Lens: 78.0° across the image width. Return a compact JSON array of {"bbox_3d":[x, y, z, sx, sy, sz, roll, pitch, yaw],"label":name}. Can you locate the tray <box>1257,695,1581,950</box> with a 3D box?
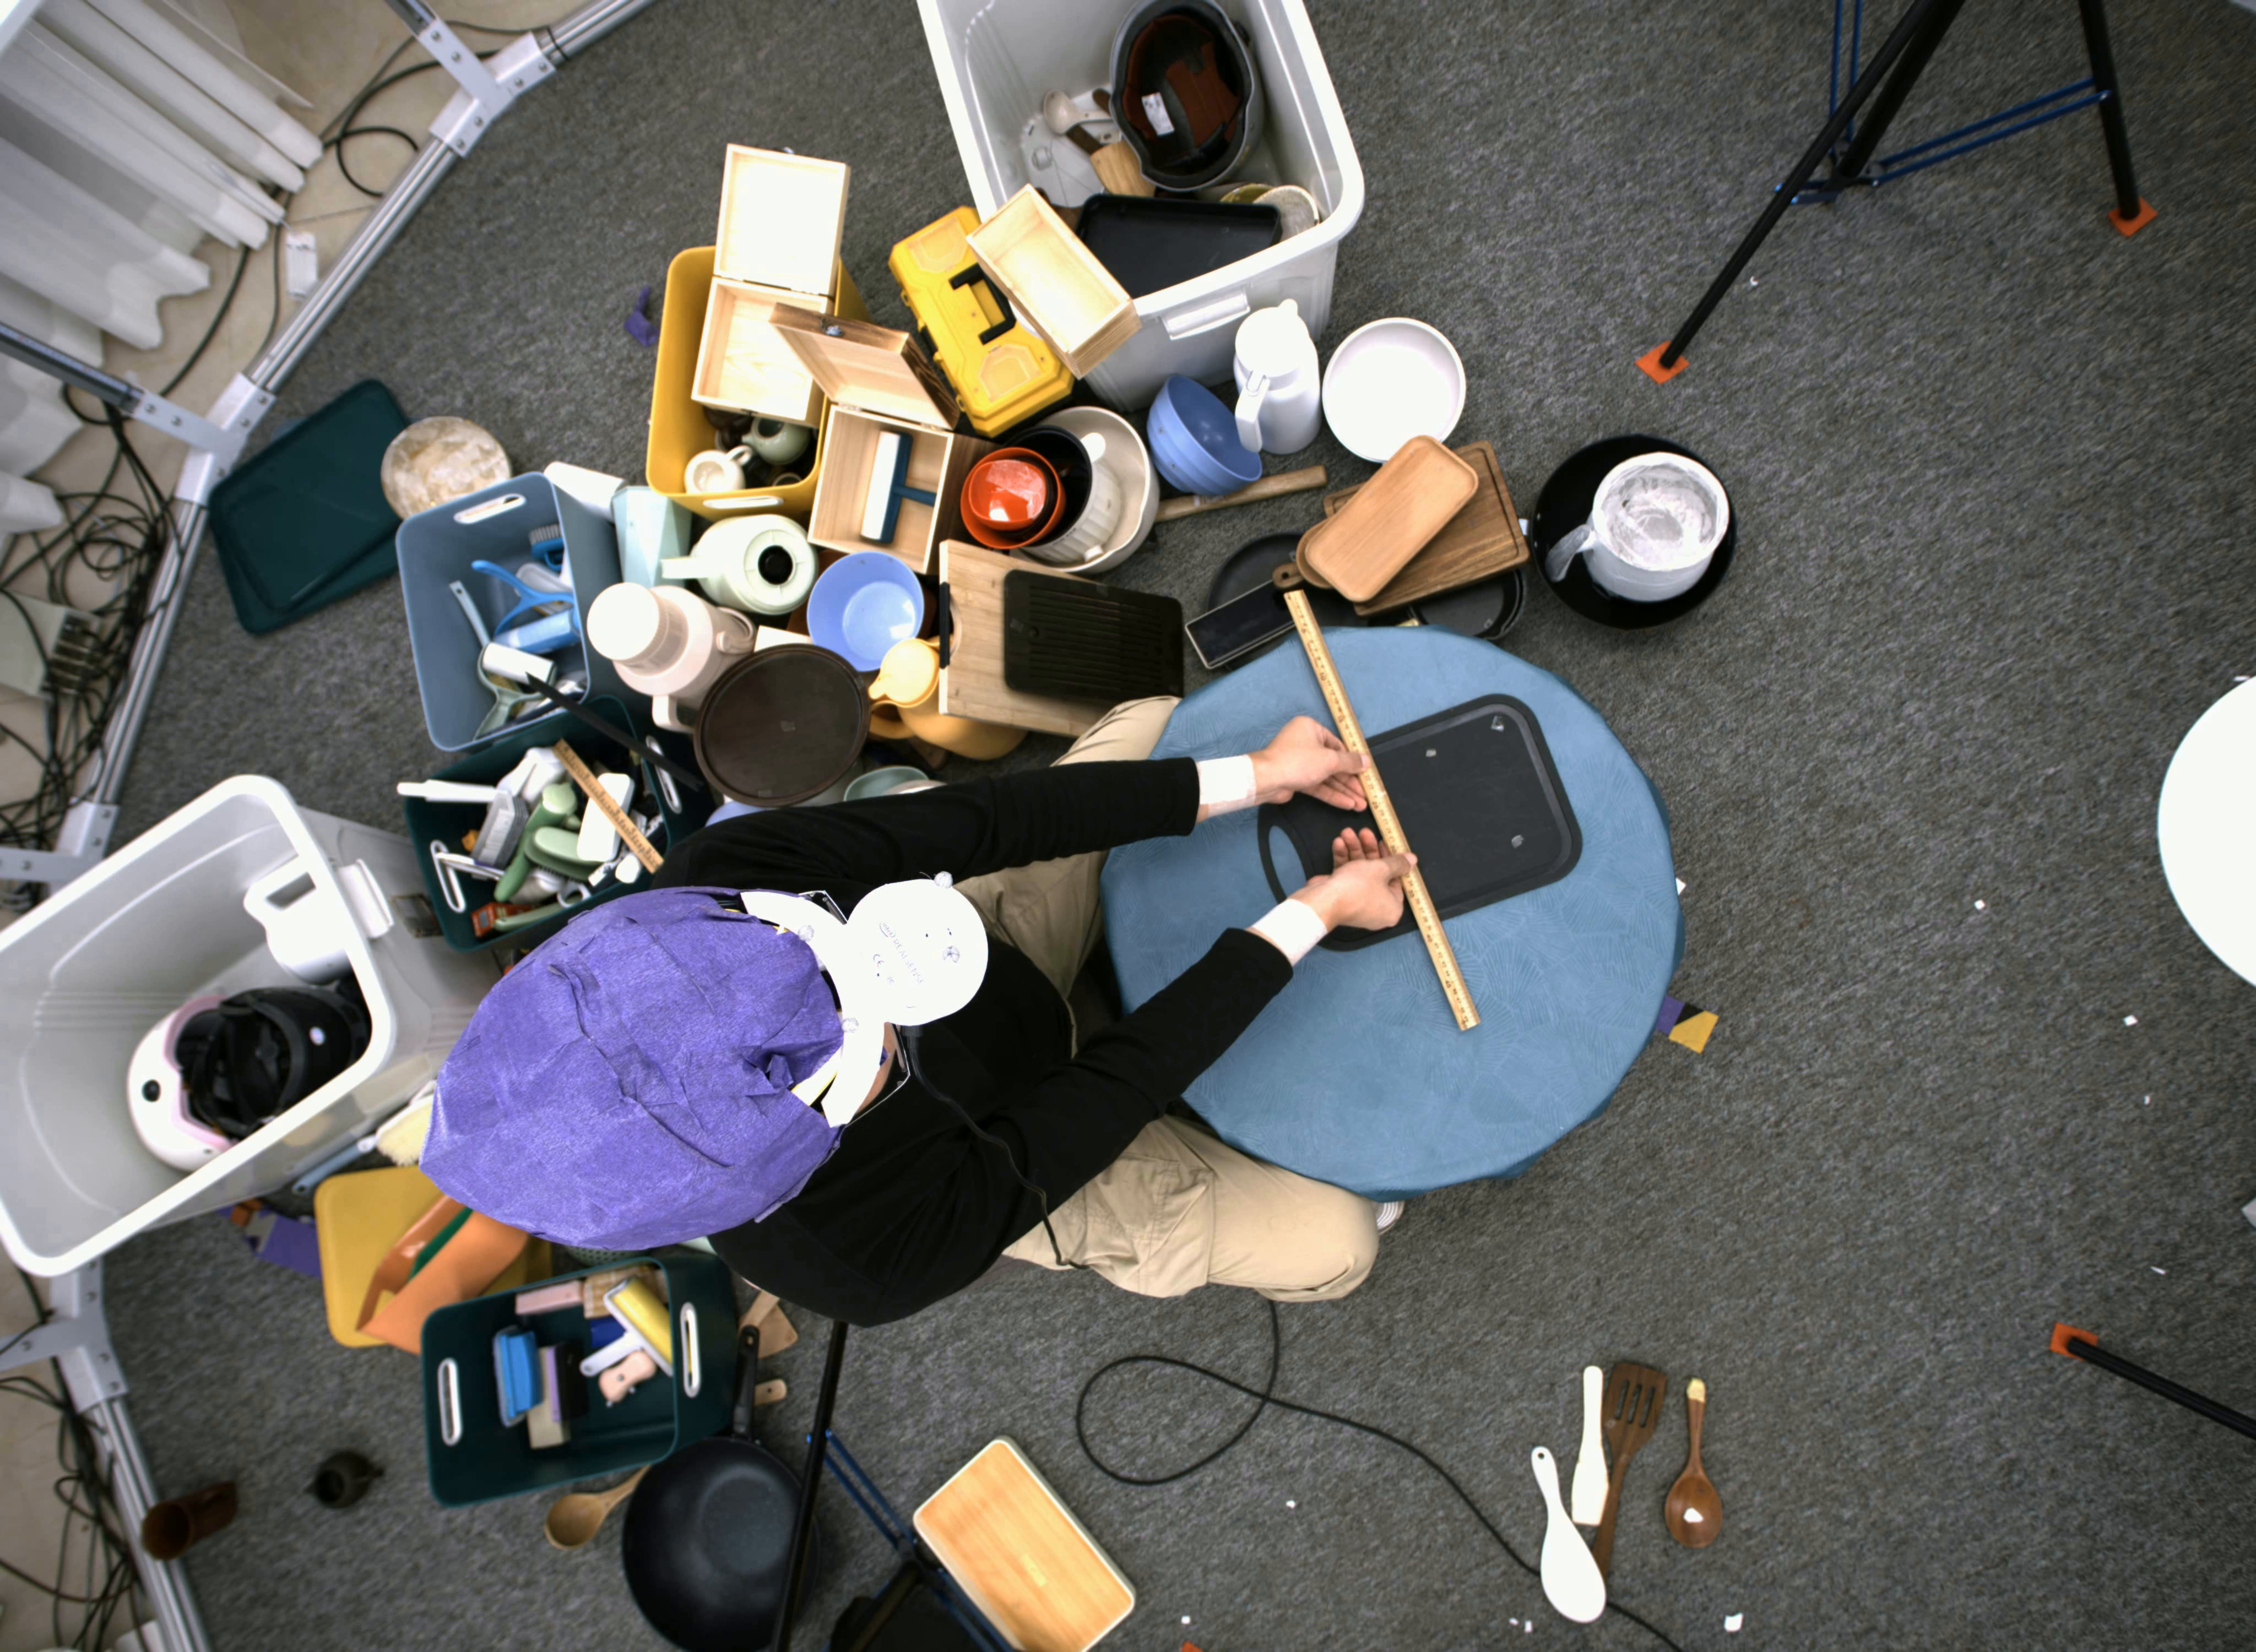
[{"bbox_3d":[0.299,-0.001,1.455,0.327,0.010,0.210,-19,83,9],"label":"tray"}]

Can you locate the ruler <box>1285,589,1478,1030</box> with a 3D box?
[{"bbox_3d":[0.265,-0.025,1.454,0.026,0.006,0.497,-17,82,-24],"label":"ruler"}]
